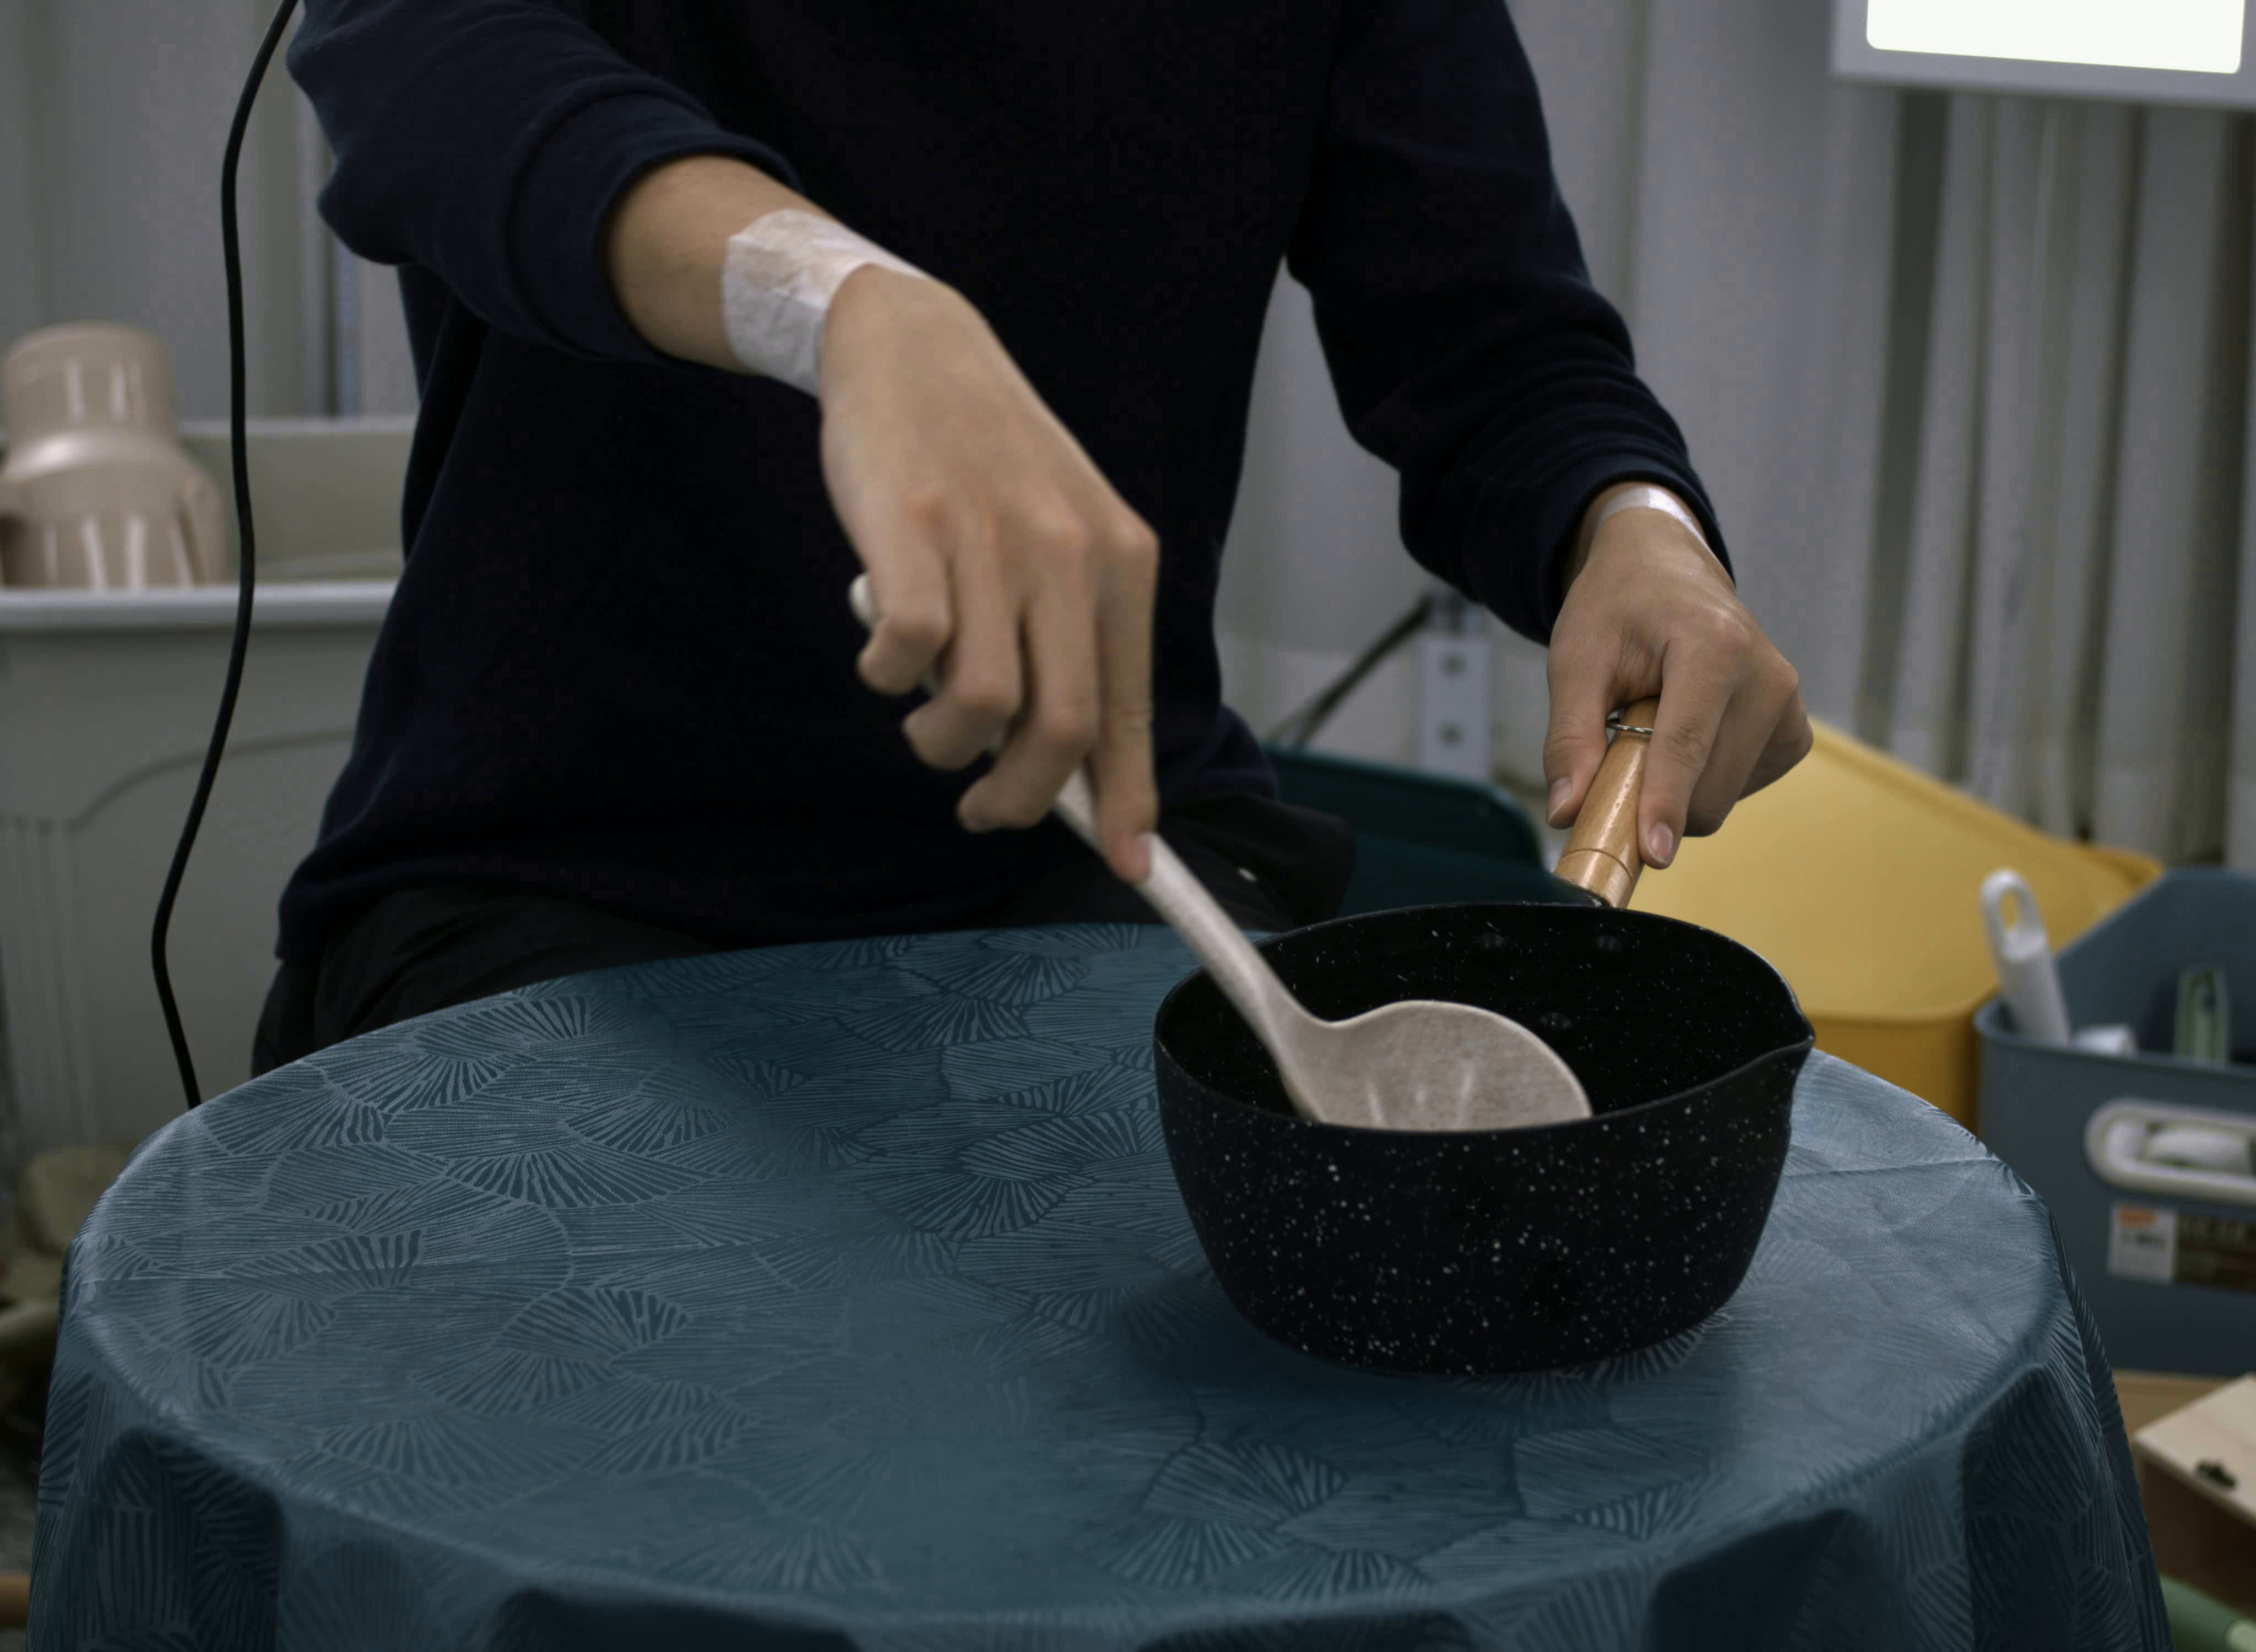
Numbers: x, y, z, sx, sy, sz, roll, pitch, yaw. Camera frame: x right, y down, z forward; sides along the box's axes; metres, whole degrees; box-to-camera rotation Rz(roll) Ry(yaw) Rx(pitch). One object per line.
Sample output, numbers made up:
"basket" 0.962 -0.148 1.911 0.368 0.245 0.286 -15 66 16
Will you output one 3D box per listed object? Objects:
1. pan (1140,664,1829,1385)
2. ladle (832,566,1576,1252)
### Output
"pan" 0.124 0.054 1.589 0.205 0.109 0.342 2 21 18
"ladle" 0.027 0.014 1.410 0.069 0.278 0.089 -17 41 31
